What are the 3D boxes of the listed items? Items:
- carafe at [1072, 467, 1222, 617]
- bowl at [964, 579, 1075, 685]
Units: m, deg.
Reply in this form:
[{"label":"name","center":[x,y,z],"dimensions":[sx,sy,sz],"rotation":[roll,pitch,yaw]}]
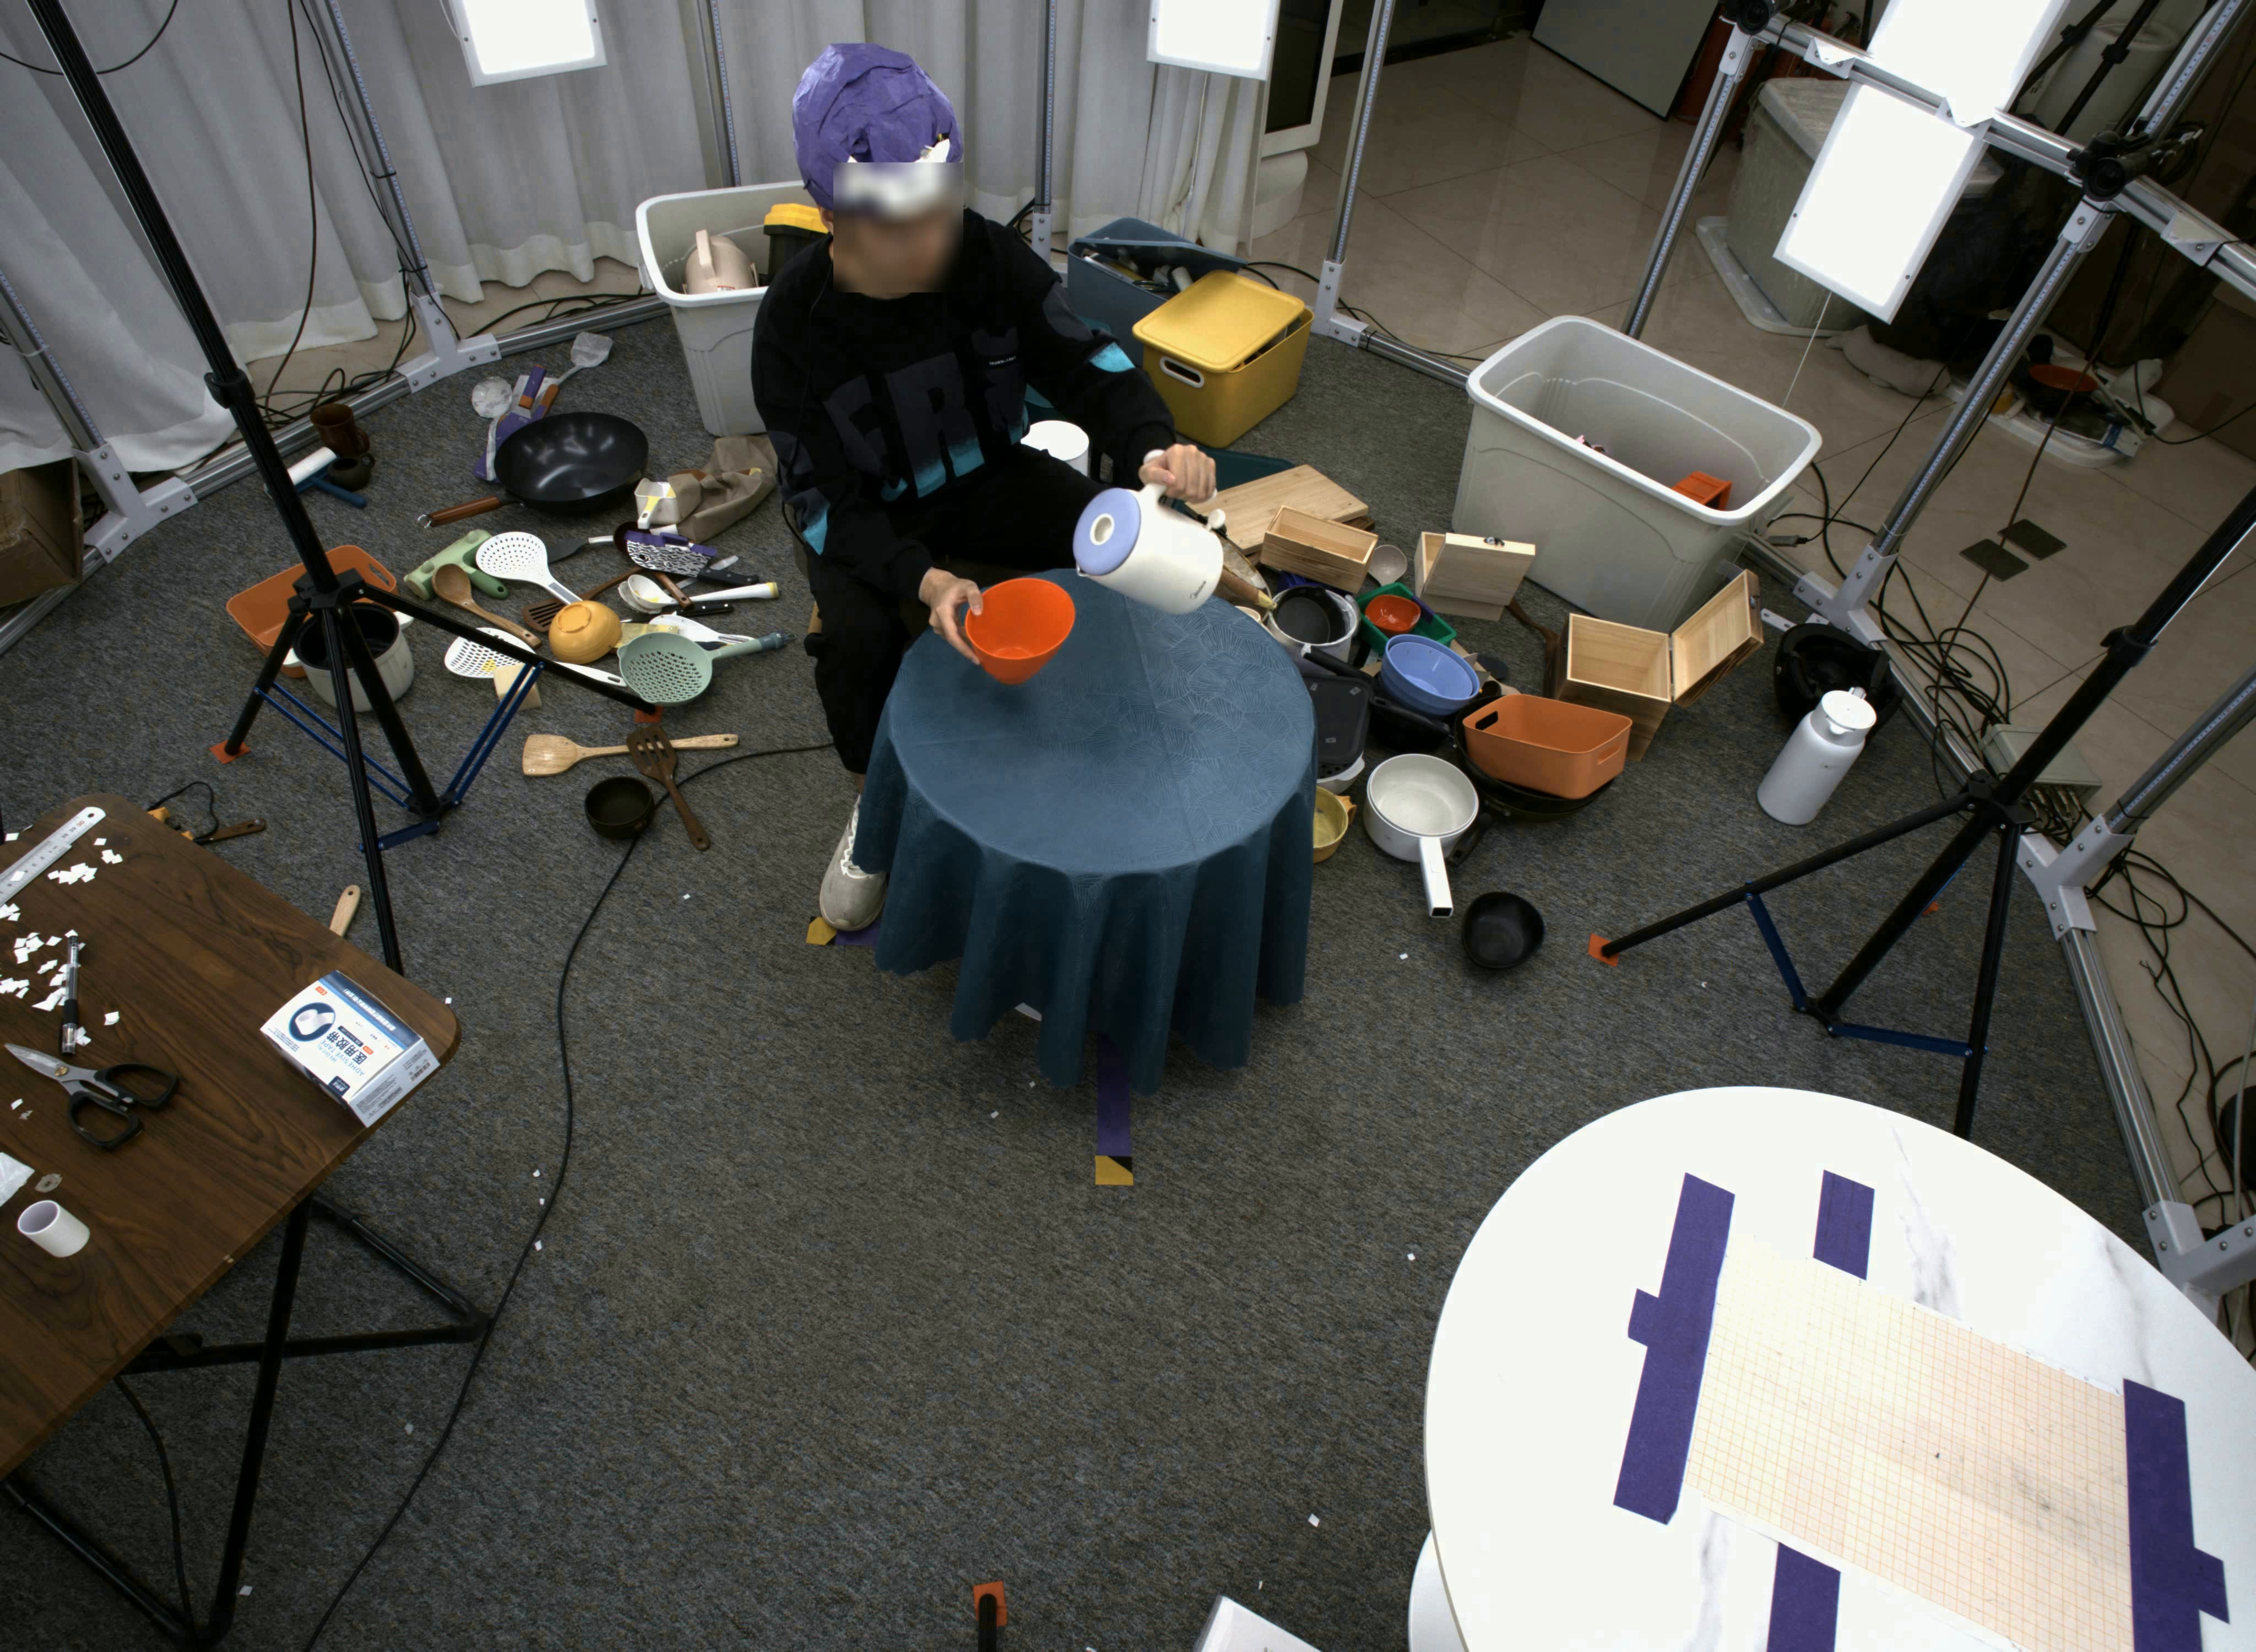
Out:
[{"label":"carafe","center":[0.041,-0.385,1.719],"dimensions":[0.180,0.189,0.135],"rotation":[20,24,-48]},{"label":"bowl","center":[-0.148,-0.253,1.755],"dimensions":[0.148,0.102,0.151],"rotation":[3,51,-4]}]
